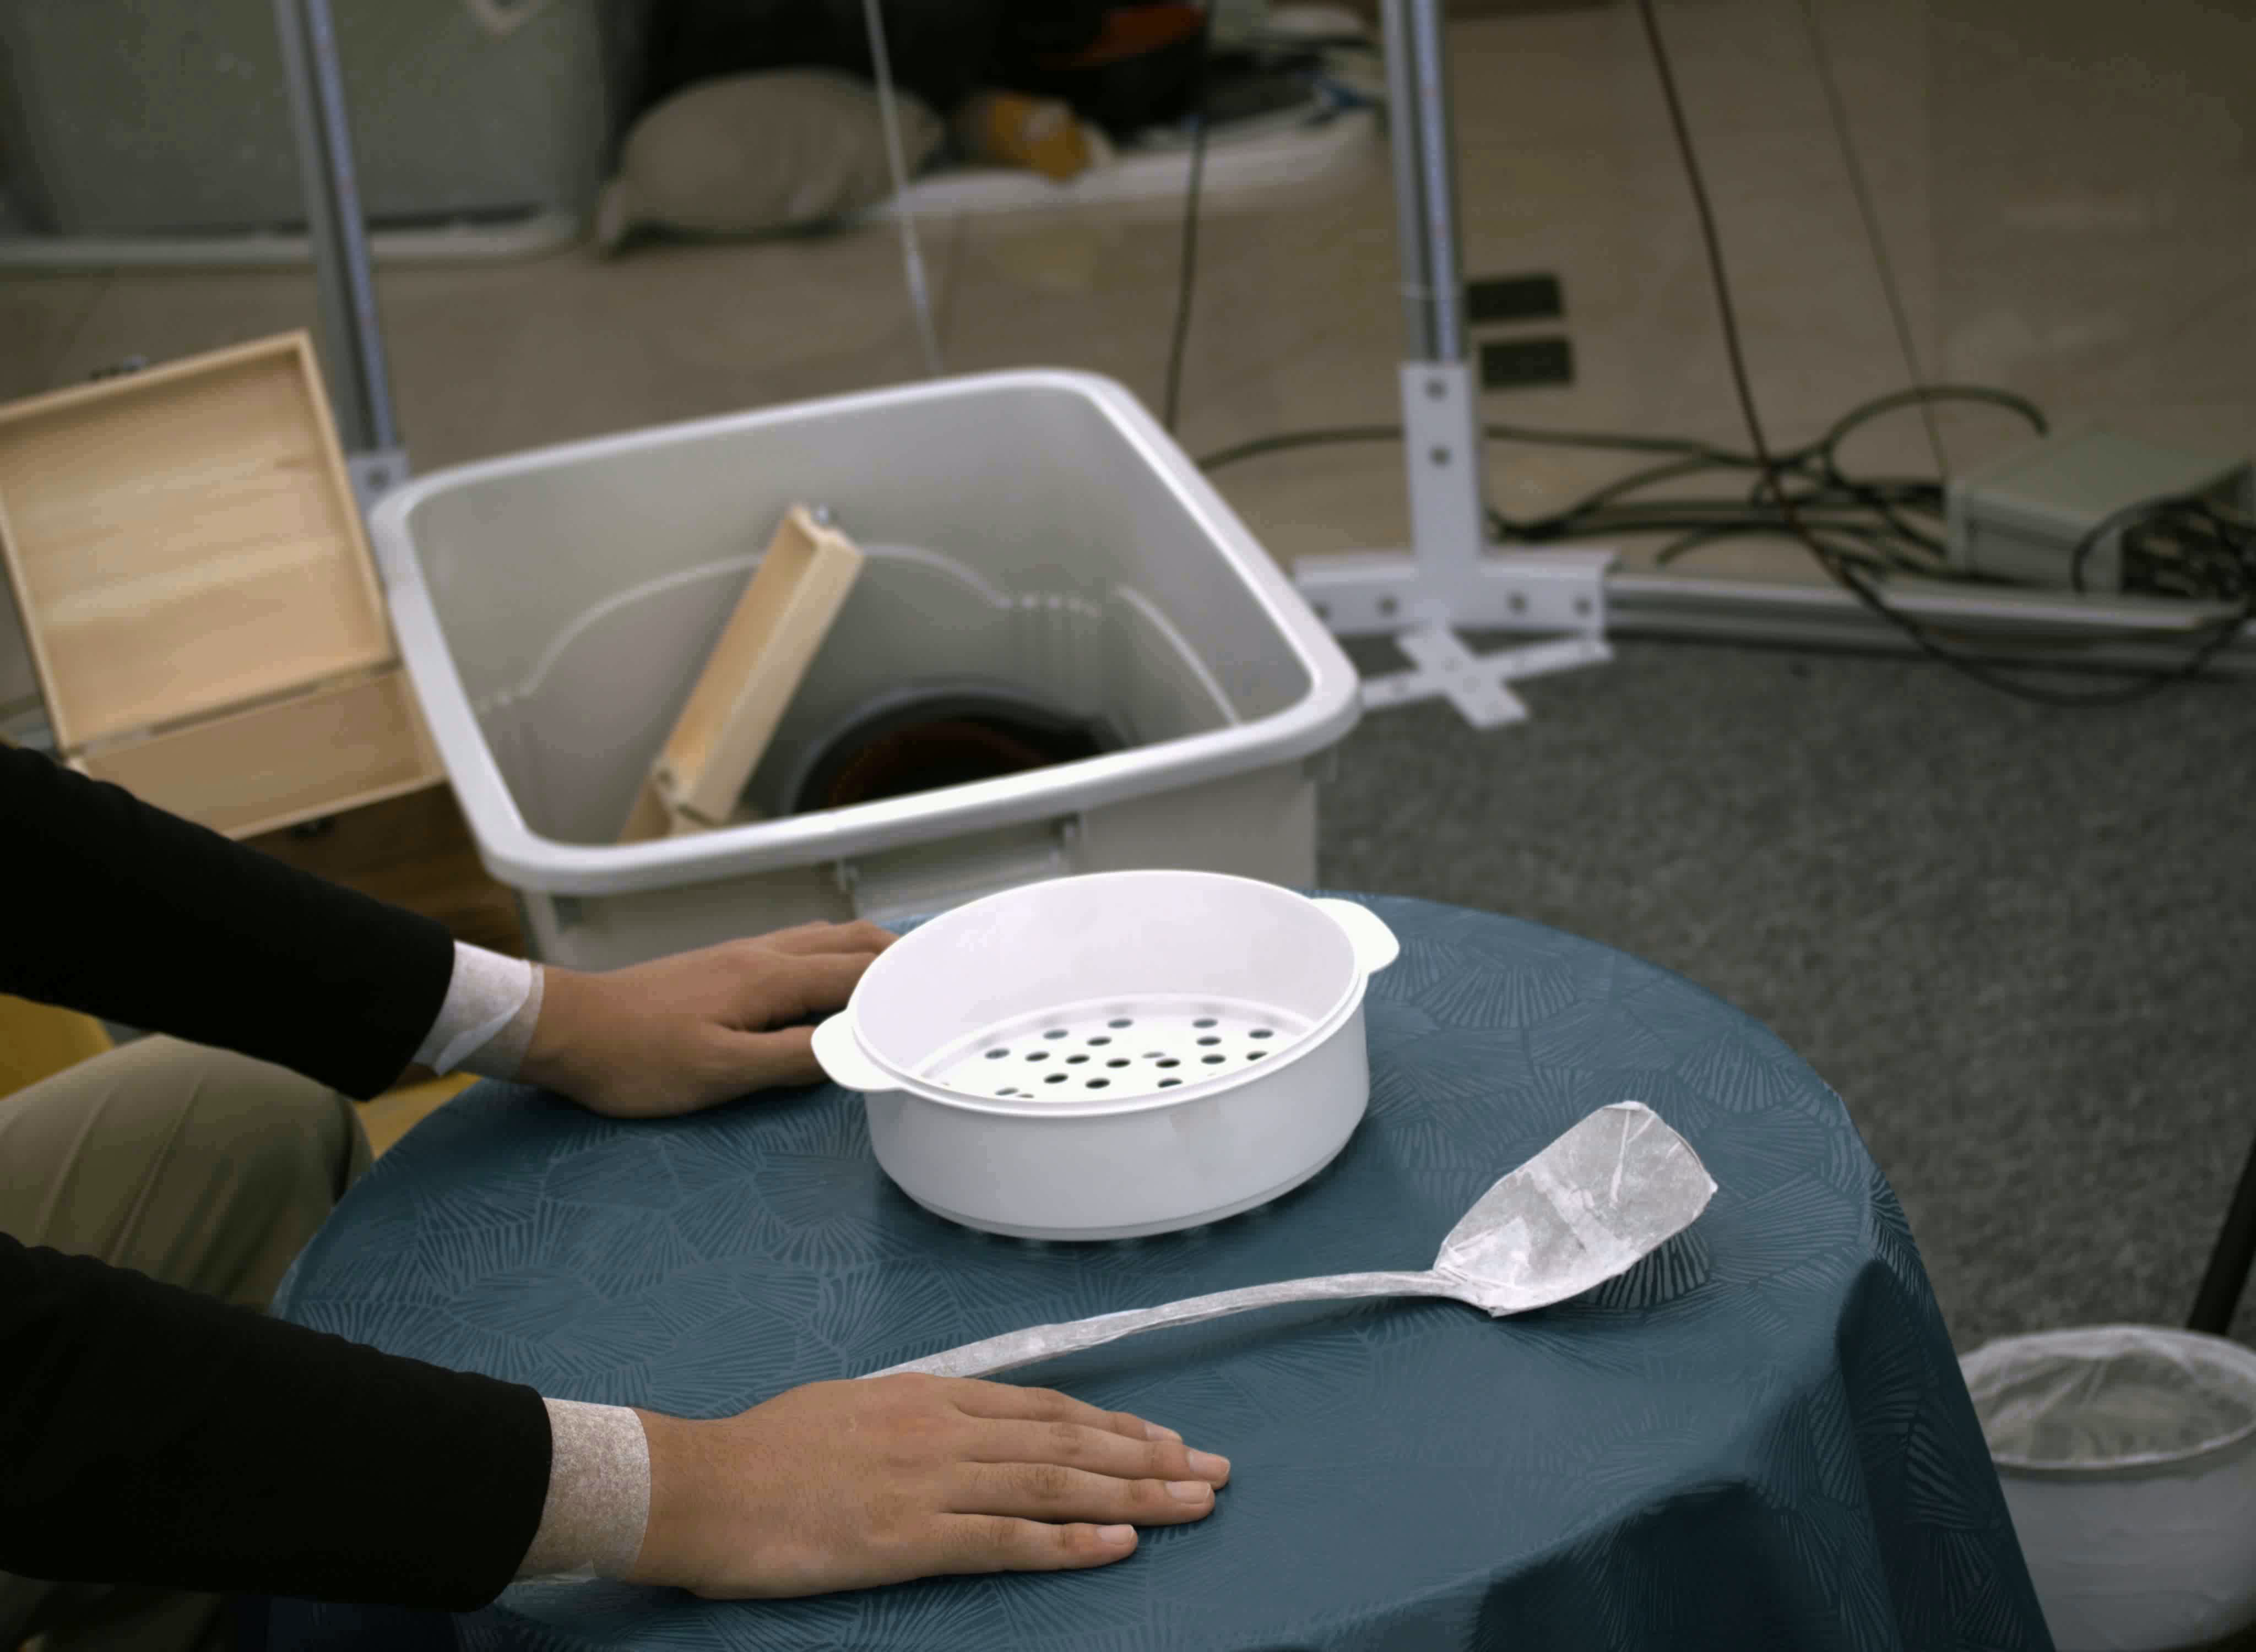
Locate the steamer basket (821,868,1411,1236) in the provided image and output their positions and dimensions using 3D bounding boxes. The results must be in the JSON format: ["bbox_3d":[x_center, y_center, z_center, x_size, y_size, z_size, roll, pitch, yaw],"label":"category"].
[{"bbox_3d":[0.000,0.087,2.176,0.230,0.070,0.199,-14,25,-13],"label":"steamer basket"}]

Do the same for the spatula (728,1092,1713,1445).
[{"bbox_3d":[0.033,0.167,2.034,0.364,0.045,0.097,-11,28,-10],"label":"spatula"}]
